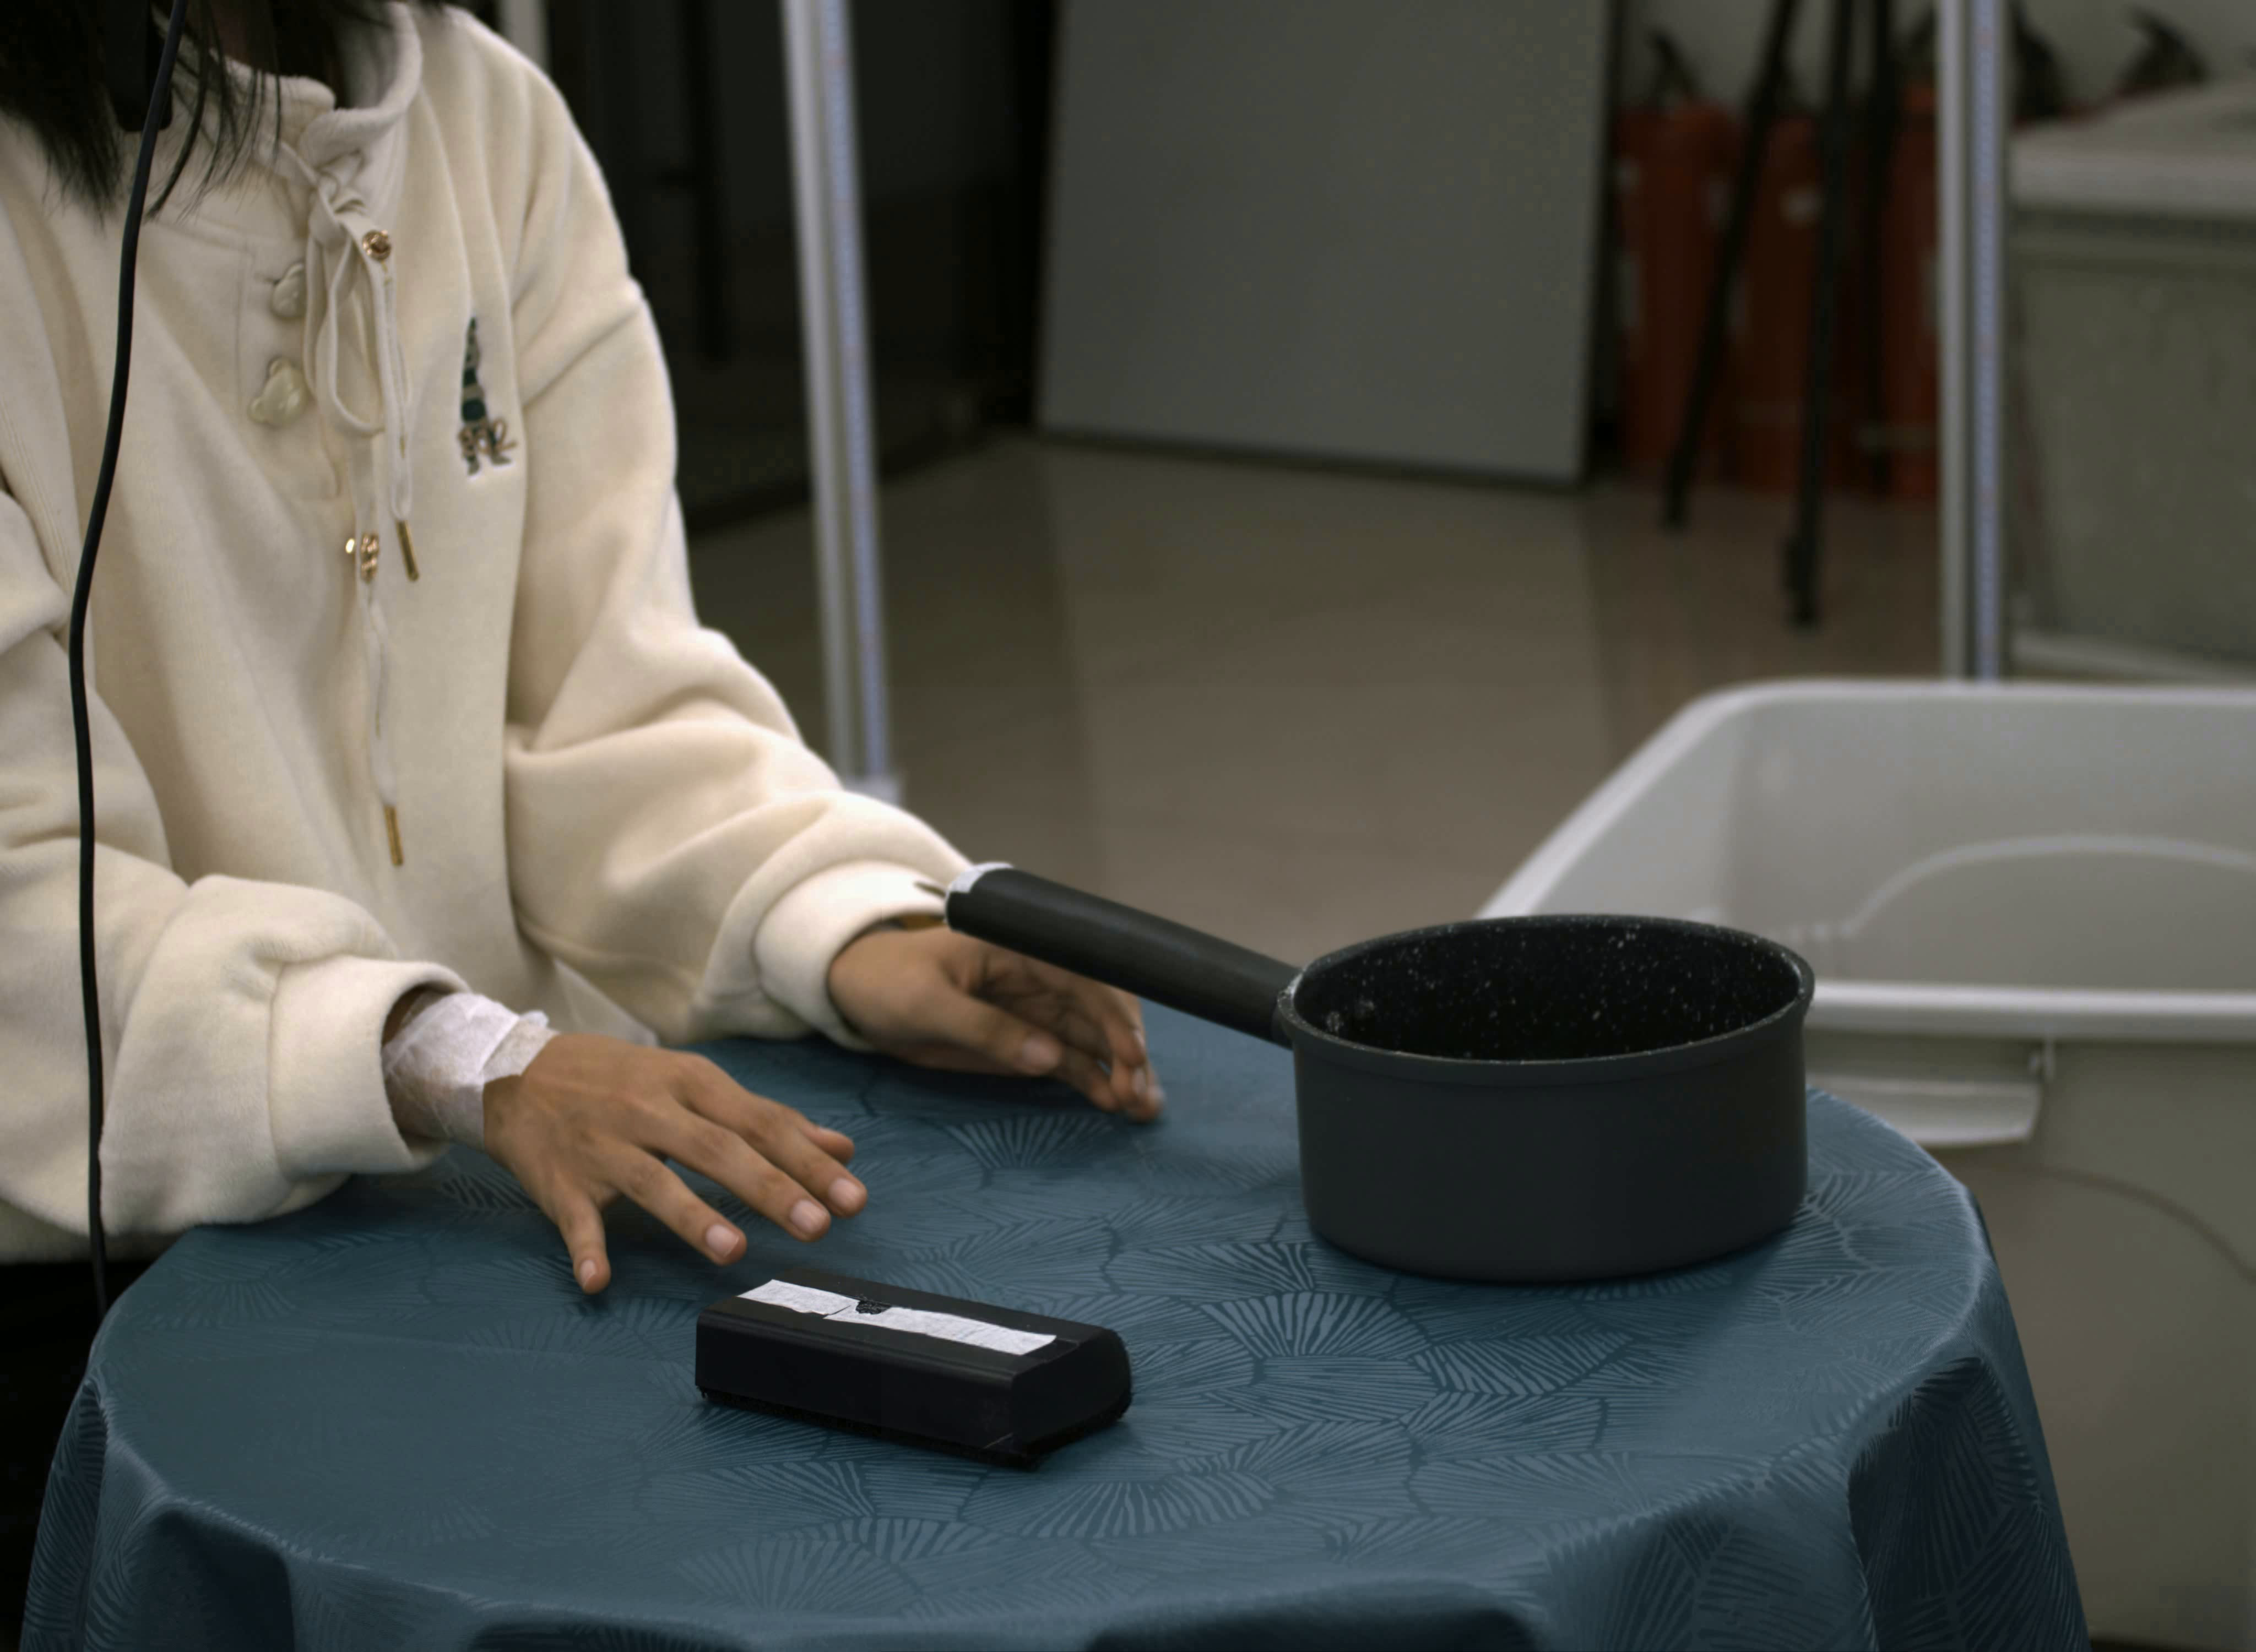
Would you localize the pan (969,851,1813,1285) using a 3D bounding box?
[{"bbox_3d":[0.075,0.073,1.766,0.331,0.087,0.168,10,19,41],"label":"pan"}]

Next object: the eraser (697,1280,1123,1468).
[{"bbox_3d":[-0.063,0.159,1.578,0.126,0.031,0.052,6,16,39],"label":"eraser"}]
